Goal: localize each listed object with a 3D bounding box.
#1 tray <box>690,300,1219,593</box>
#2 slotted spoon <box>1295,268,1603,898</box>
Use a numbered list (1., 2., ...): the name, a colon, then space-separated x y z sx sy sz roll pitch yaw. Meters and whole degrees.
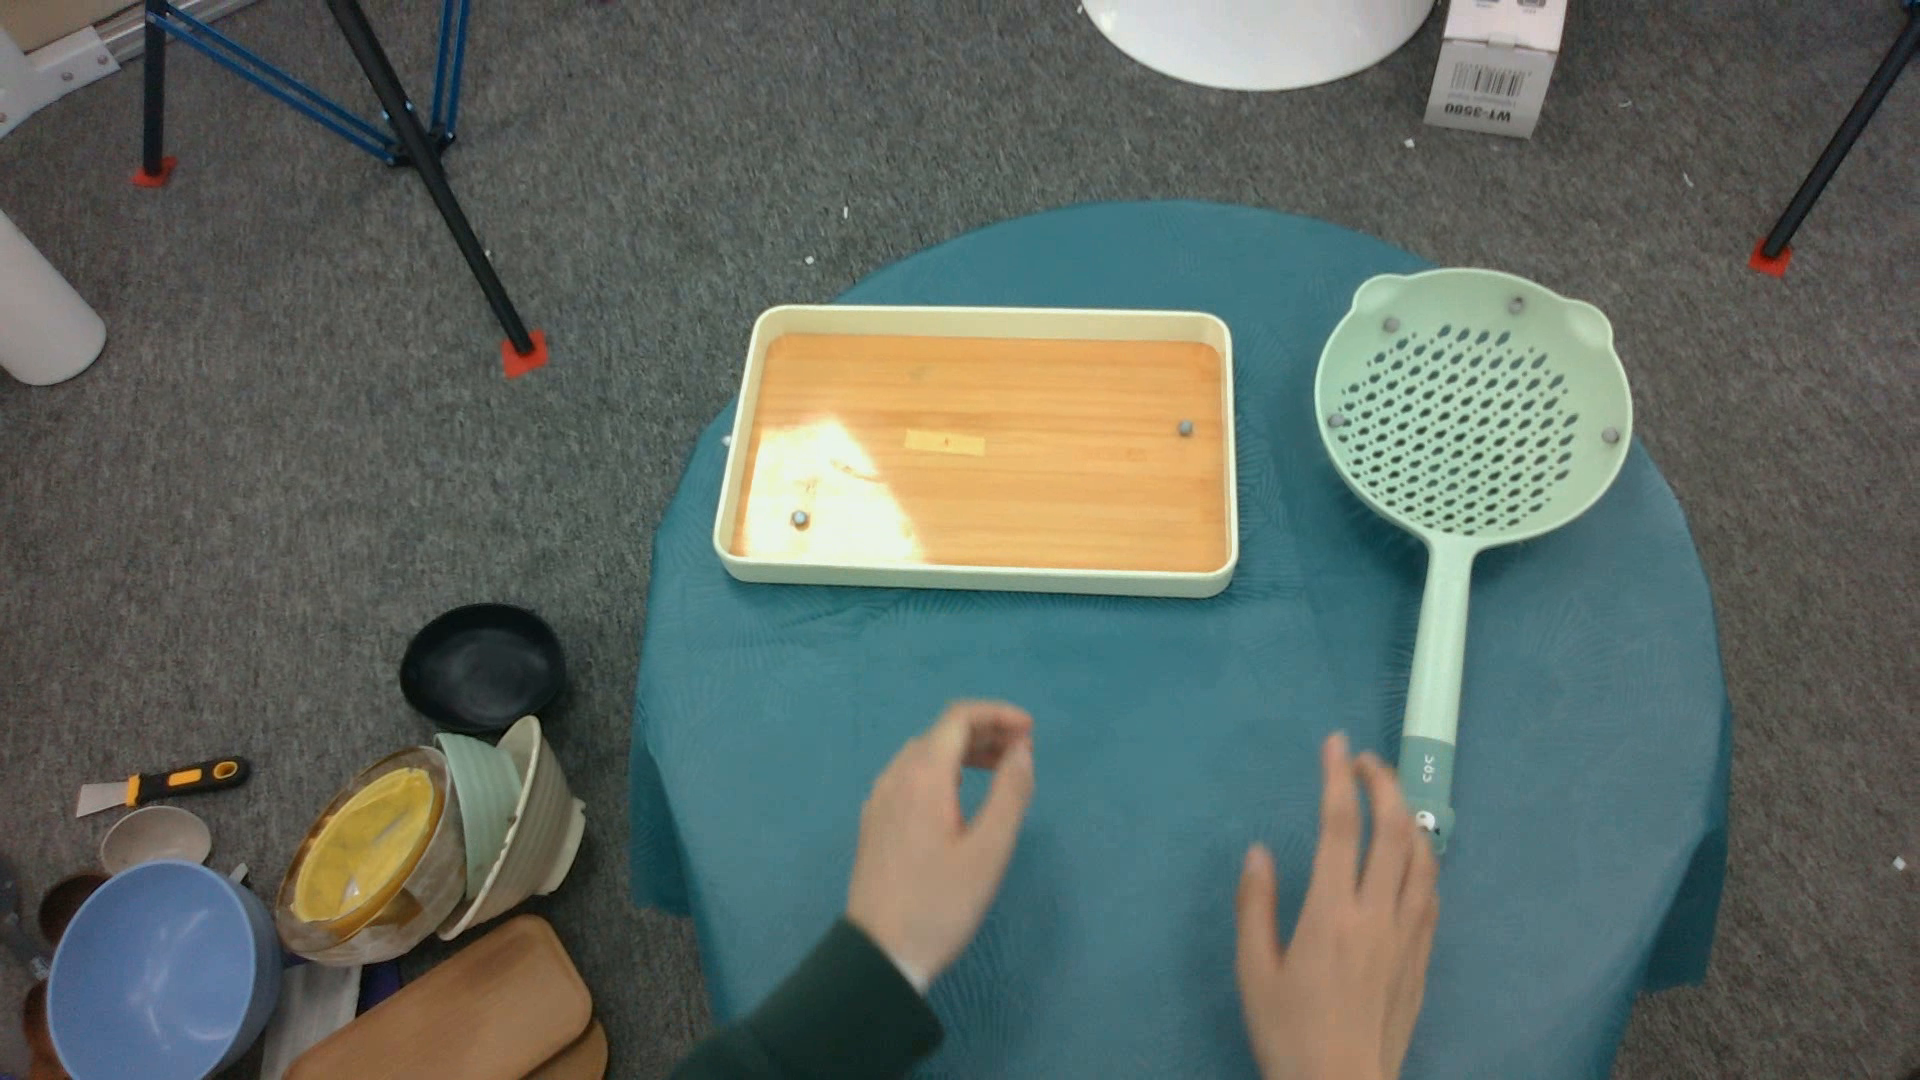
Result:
1. tray: 0.001 -0.061 0.825 0.300 0.027 0.192 2 59 4
2. slotted spoon: 0.251 0.011 0.747 0.169 0.075 0.360 11 60 10
